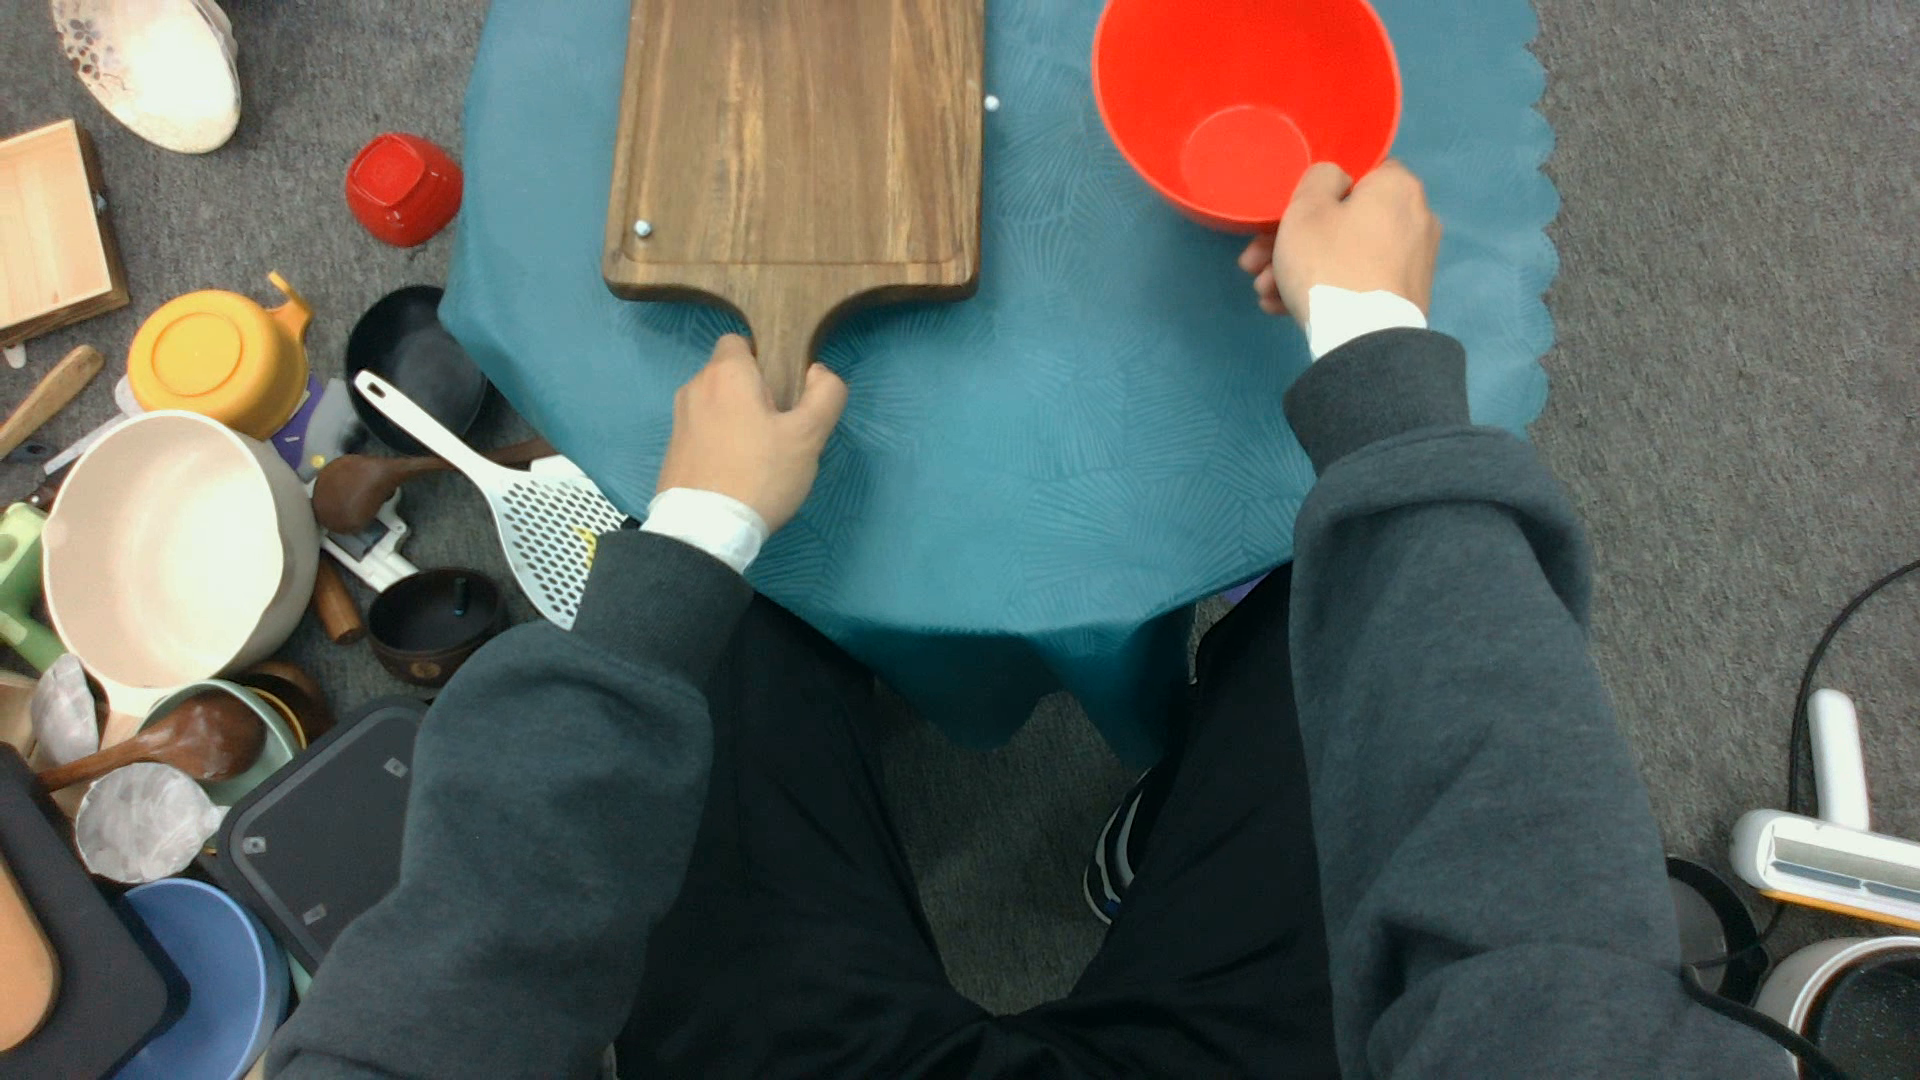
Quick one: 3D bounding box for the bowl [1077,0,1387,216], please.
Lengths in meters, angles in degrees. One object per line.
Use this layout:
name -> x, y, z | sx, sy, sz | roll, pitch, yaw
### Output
bowl -> 0.132, -0.221, 0.690 | 0.148, 0.104, 0.148 | -1, 80, 4

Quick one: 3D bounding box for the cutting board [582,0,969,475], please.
cutting board -> -0.096, -0.200, 0.735 | 0.201, 0.023, 0.353 | 0, 70, 2
